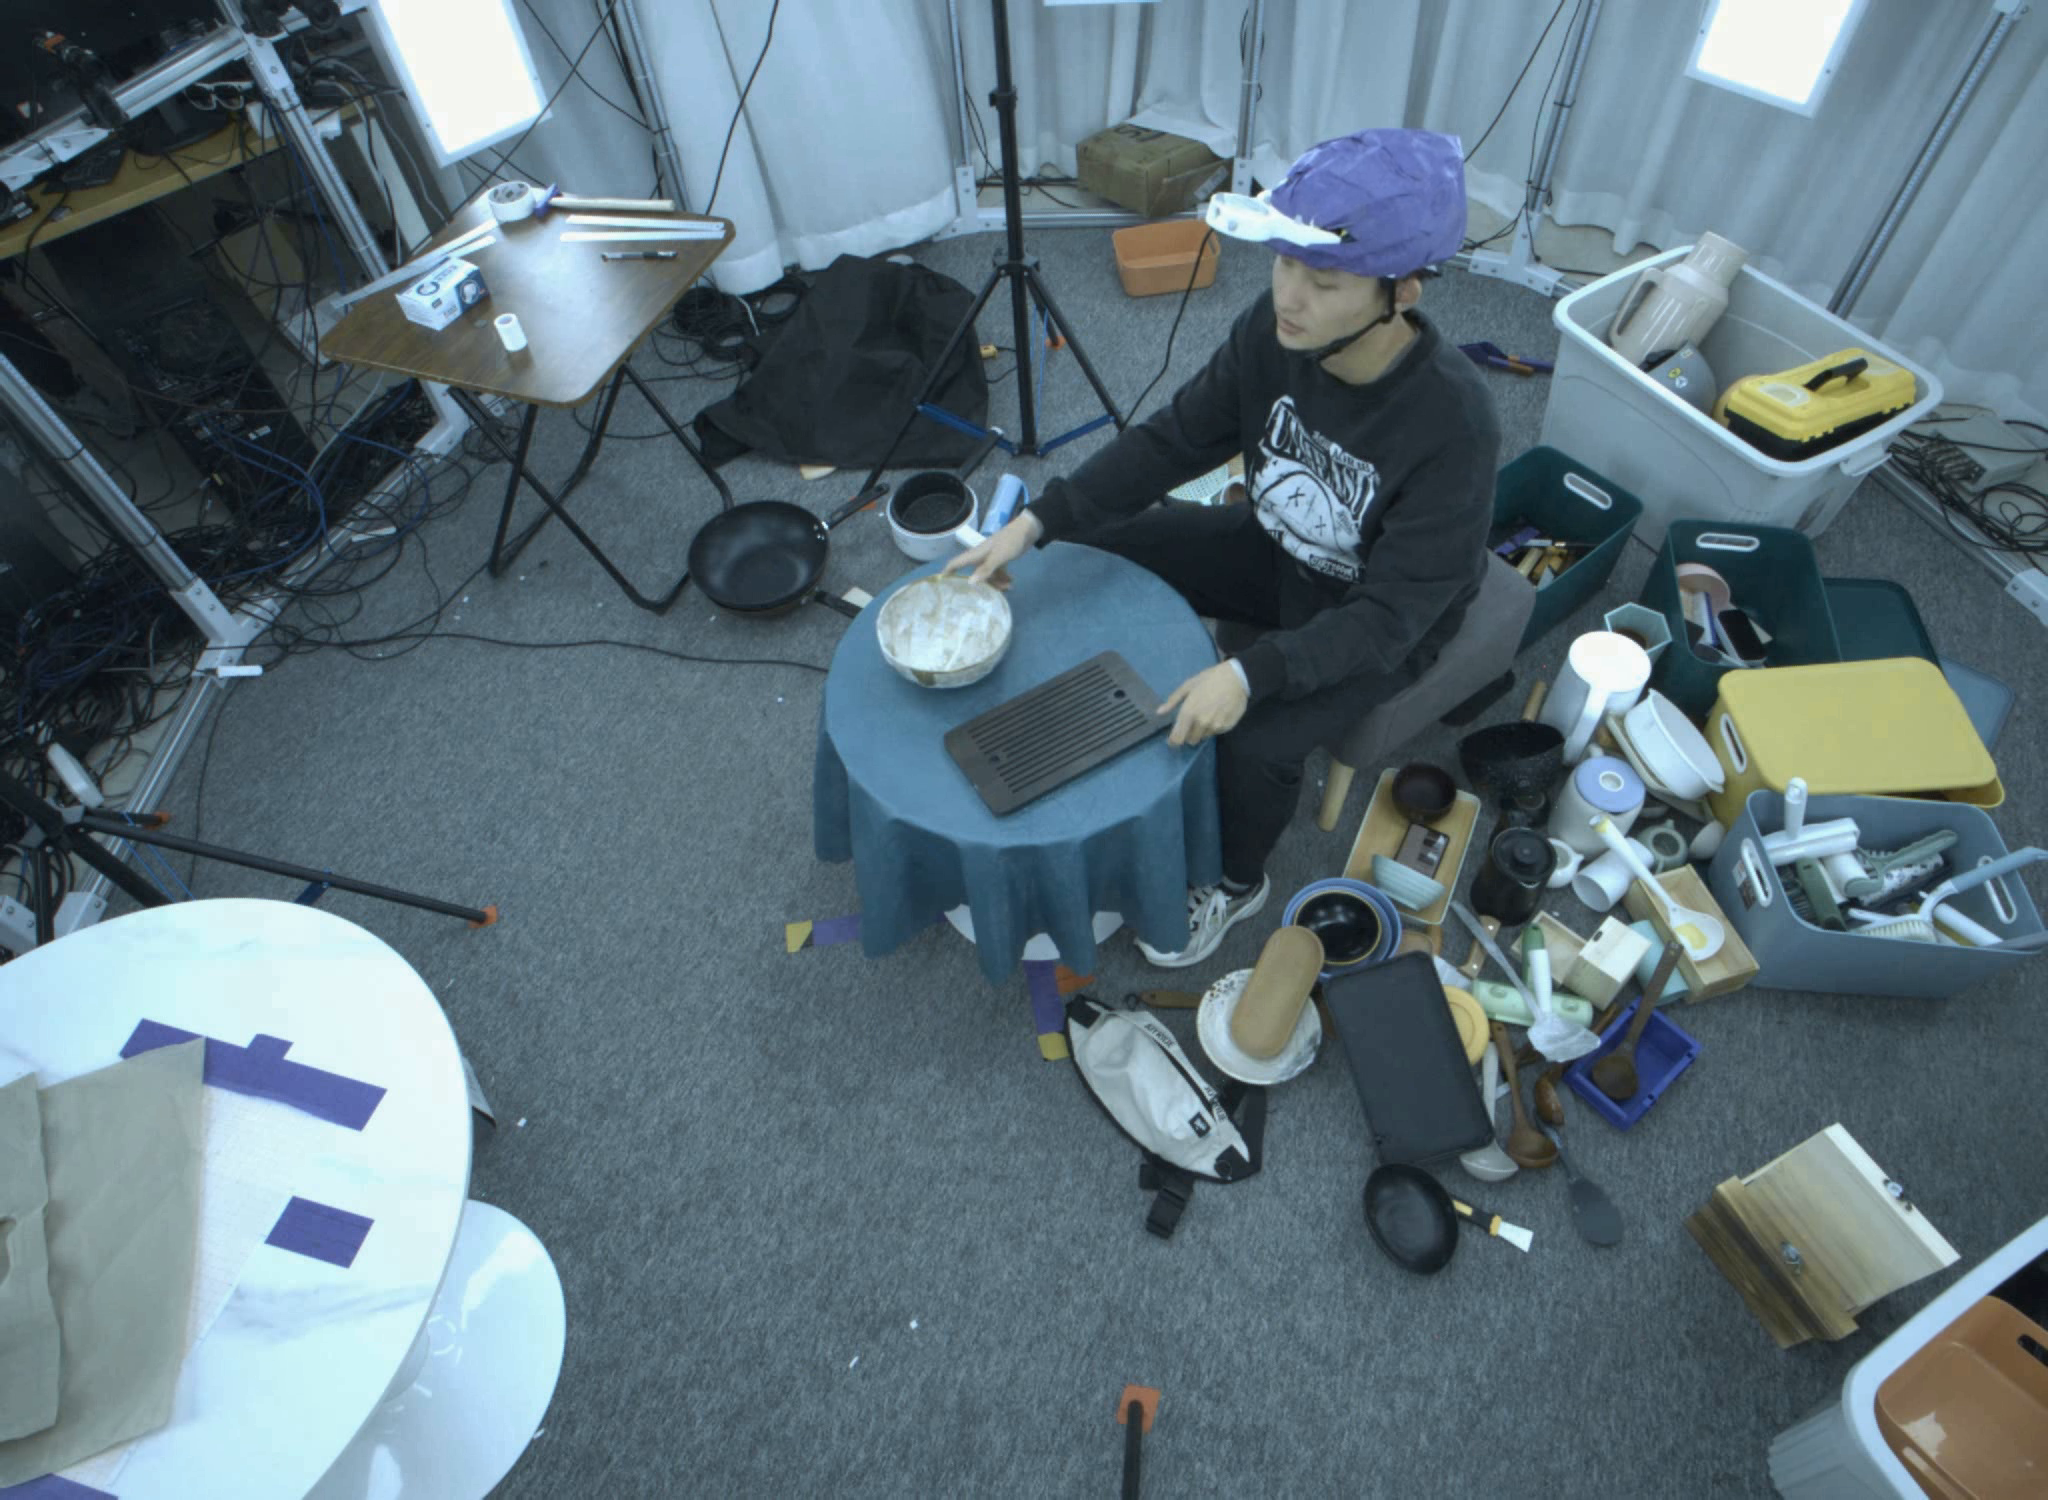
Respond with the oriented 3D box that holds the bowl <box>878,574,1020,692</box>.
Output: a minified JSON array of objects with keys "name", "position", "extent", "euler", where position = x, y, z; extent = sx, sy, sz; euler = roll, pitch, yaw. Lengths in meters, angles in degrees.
[{"name":"bowl","position":[-0.110,-0.160,1.857],"extent":[0.214,0.095,0.212],"euler":[-1,54,2]}]

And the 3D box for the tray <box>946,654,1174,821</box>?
[{"name":"tray","position":[0.053,-0.022,1.801],"extent":[0.308,0.019,0.167],"euler":[-28,59,-17]}]
